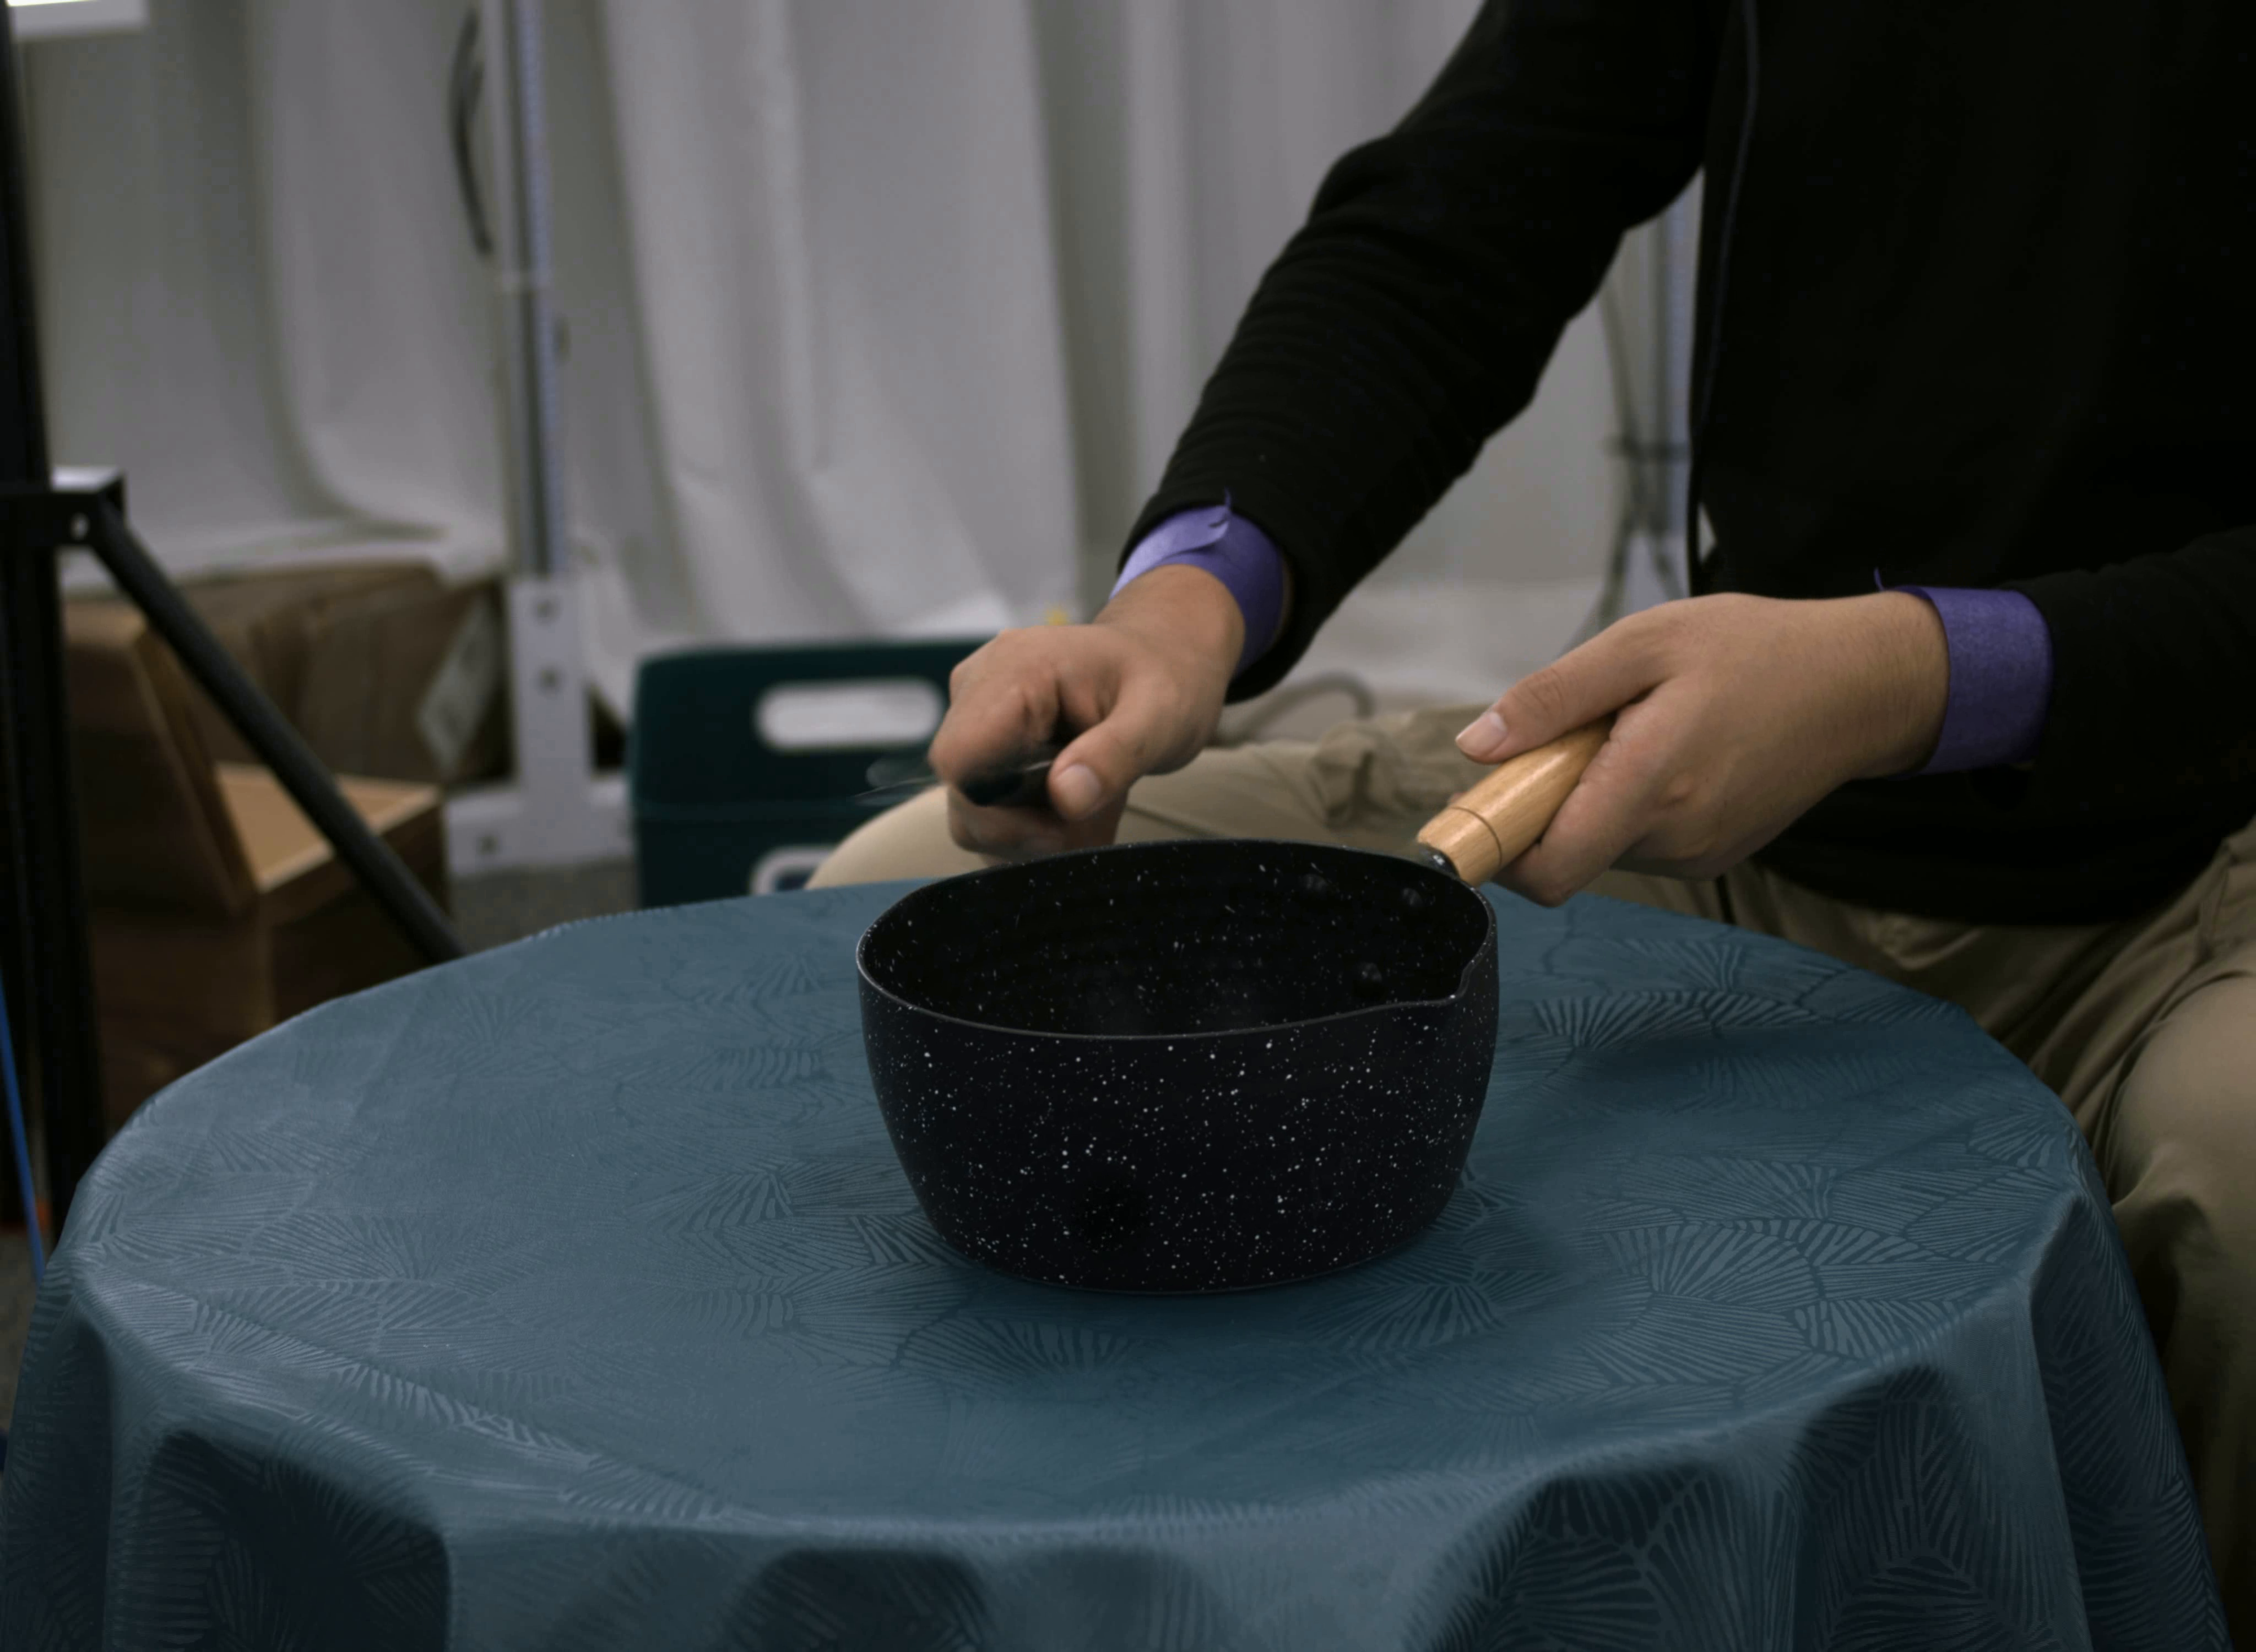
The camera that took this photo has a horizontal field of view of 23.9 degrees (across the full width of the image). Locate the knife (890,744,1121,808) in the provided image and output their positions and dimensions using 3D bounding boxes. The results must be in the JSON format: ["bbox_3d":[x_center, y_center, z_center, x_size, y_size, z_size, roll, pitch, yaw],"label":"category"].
[{"bbox_3d":[-0.040,-0.014,1.644,0.024,0.016,0.235,-25,-4,14],"label":"knife"}]

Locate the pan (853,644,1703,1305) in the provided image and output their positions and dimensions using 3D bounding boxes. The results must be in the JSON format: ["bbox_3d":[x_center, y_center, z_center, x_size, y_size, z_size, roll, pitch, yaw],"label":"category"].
[{"bbox_3d":[0.065,0.039,1.579,0.212,0.108,0.336,10,23,40],"label":"pan"}]
